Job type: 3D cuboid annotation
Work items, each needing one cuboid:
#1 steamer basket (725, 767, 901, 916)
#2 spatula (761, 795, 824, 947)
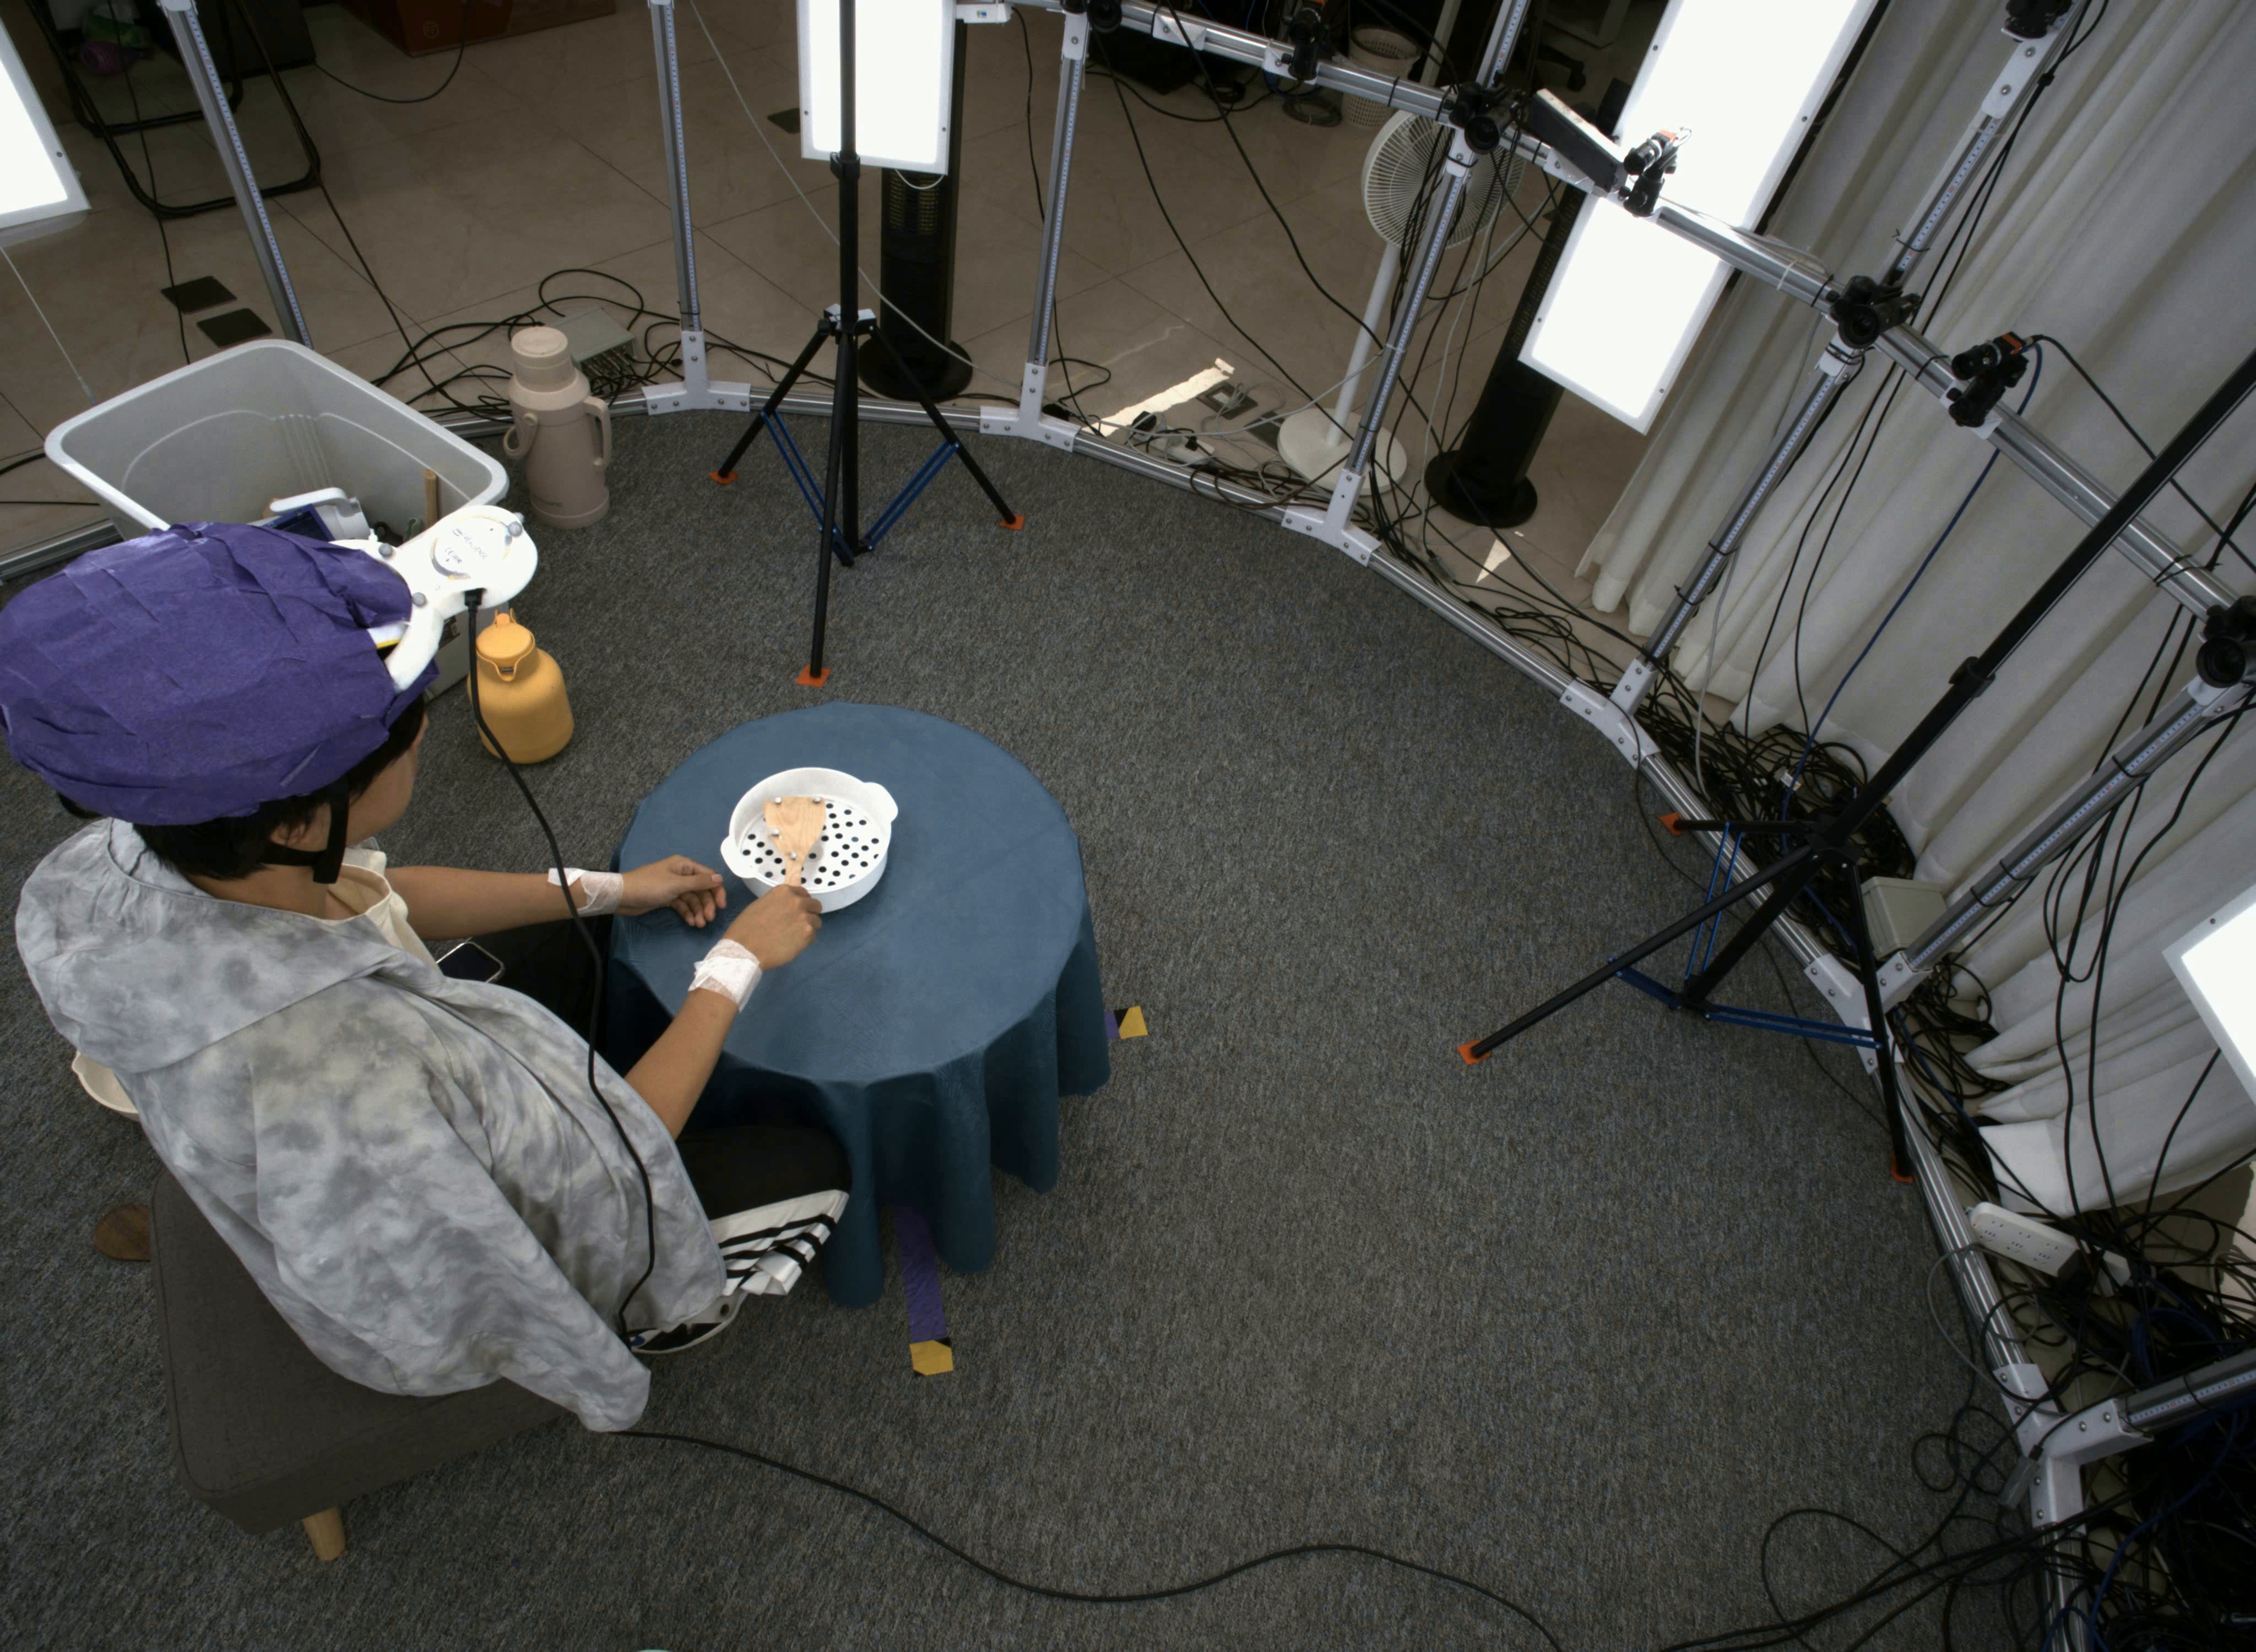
[{"bbox_3d":[-0.403,0.019,1.675,0.231,0.071,0.196,-25,61,-27],"label":"steamer basket"},{"bbox_3d":[-0.407,0.045,1.568,0.080,0.017,0.318,3,30,-16],"label":"spatula"}]
